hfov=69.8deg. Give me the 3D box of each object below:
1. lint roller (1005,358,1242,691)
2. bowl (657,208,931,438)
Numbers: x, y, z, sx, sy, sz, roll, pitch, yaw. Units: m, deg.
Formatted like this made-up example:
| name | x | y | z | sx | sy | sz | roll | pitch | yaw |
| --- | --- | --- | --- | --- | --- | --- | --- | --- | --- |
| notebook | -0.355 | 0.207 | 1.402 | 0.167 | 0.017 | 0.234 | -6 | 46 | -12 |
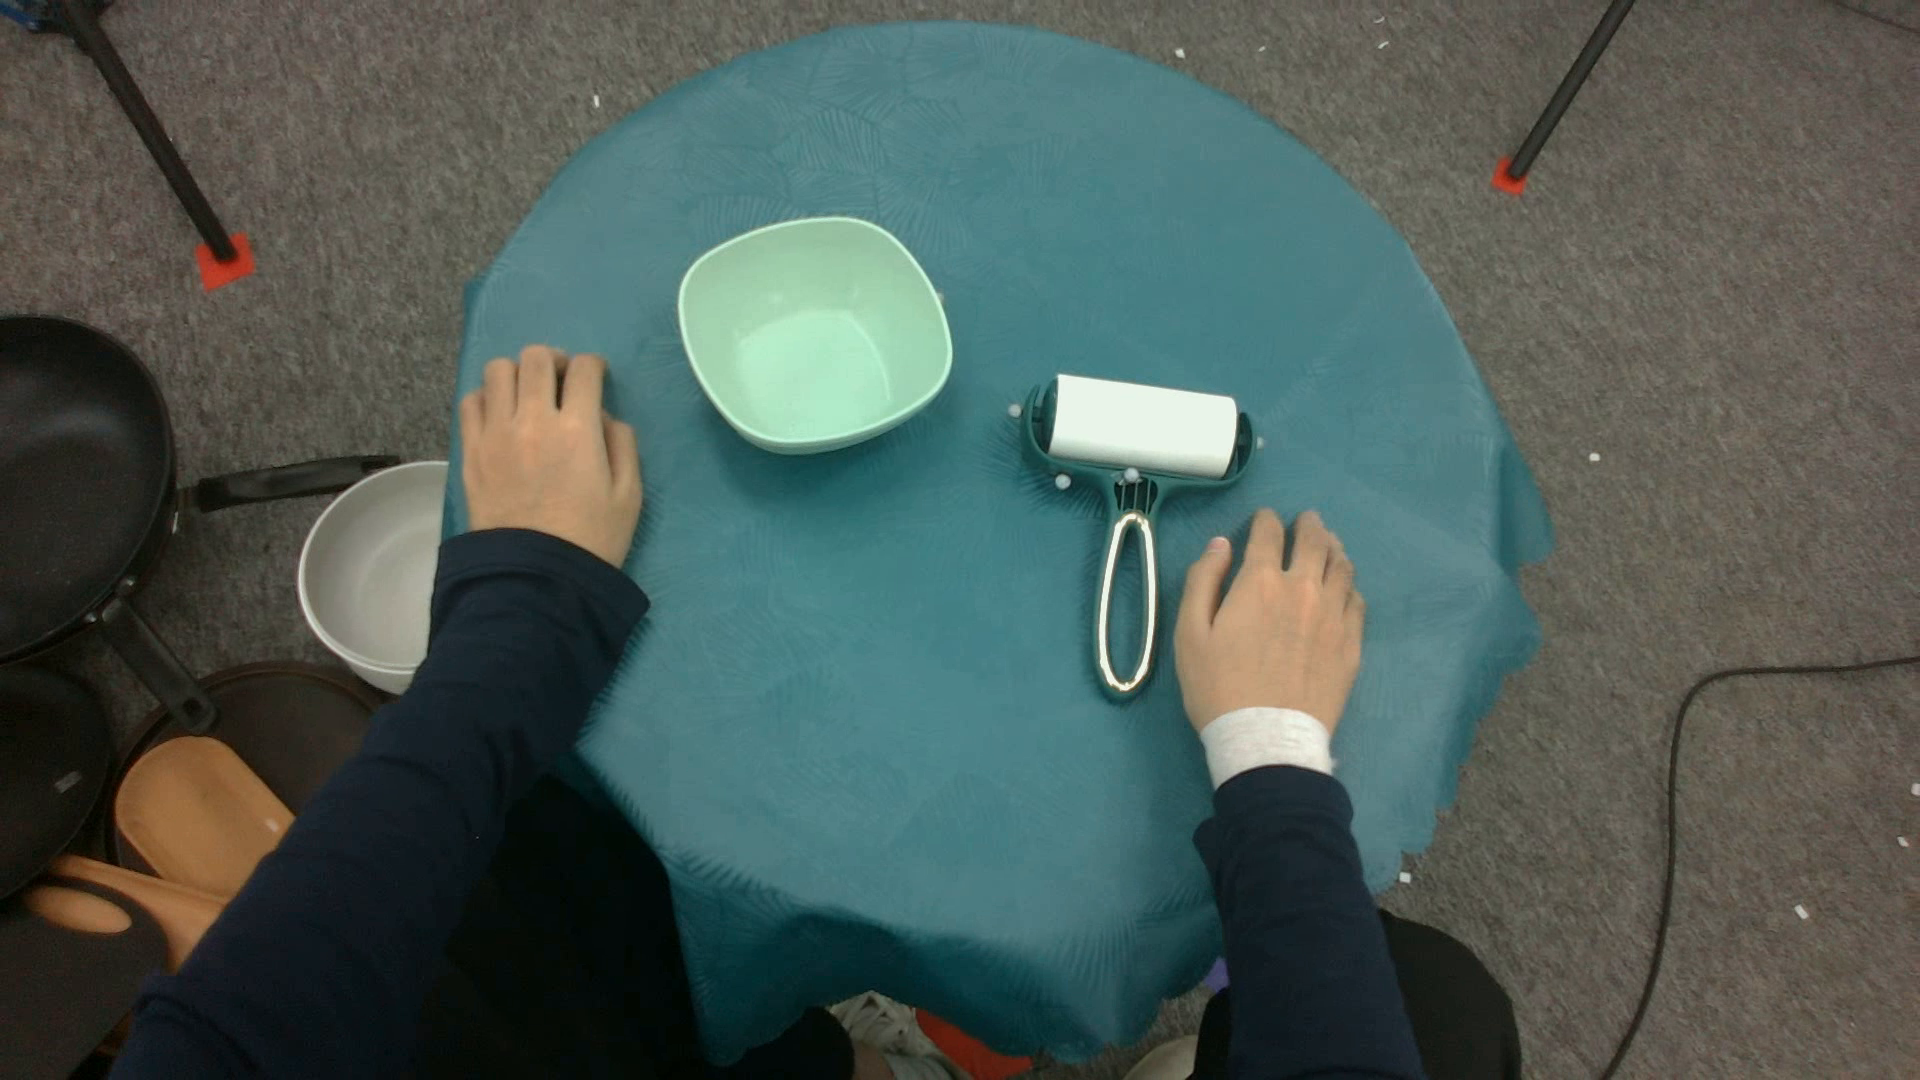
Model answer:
| name | x | y | z | sx | sy | sz | roll | pitch | yaw |
| --- | --- | --- | --- | --- | --- | --- | --- | --- | --- |
| lint roller | 0.085 | -0.011 | 0.744 | 0.134 | 0.048 | 0.181 | 7 | 66 | -5 |
| bowl | -0.091 | -0.109 | 0.757 | 0.151 | 0.058 | 0.152 | 4 | 61 | -6 |
